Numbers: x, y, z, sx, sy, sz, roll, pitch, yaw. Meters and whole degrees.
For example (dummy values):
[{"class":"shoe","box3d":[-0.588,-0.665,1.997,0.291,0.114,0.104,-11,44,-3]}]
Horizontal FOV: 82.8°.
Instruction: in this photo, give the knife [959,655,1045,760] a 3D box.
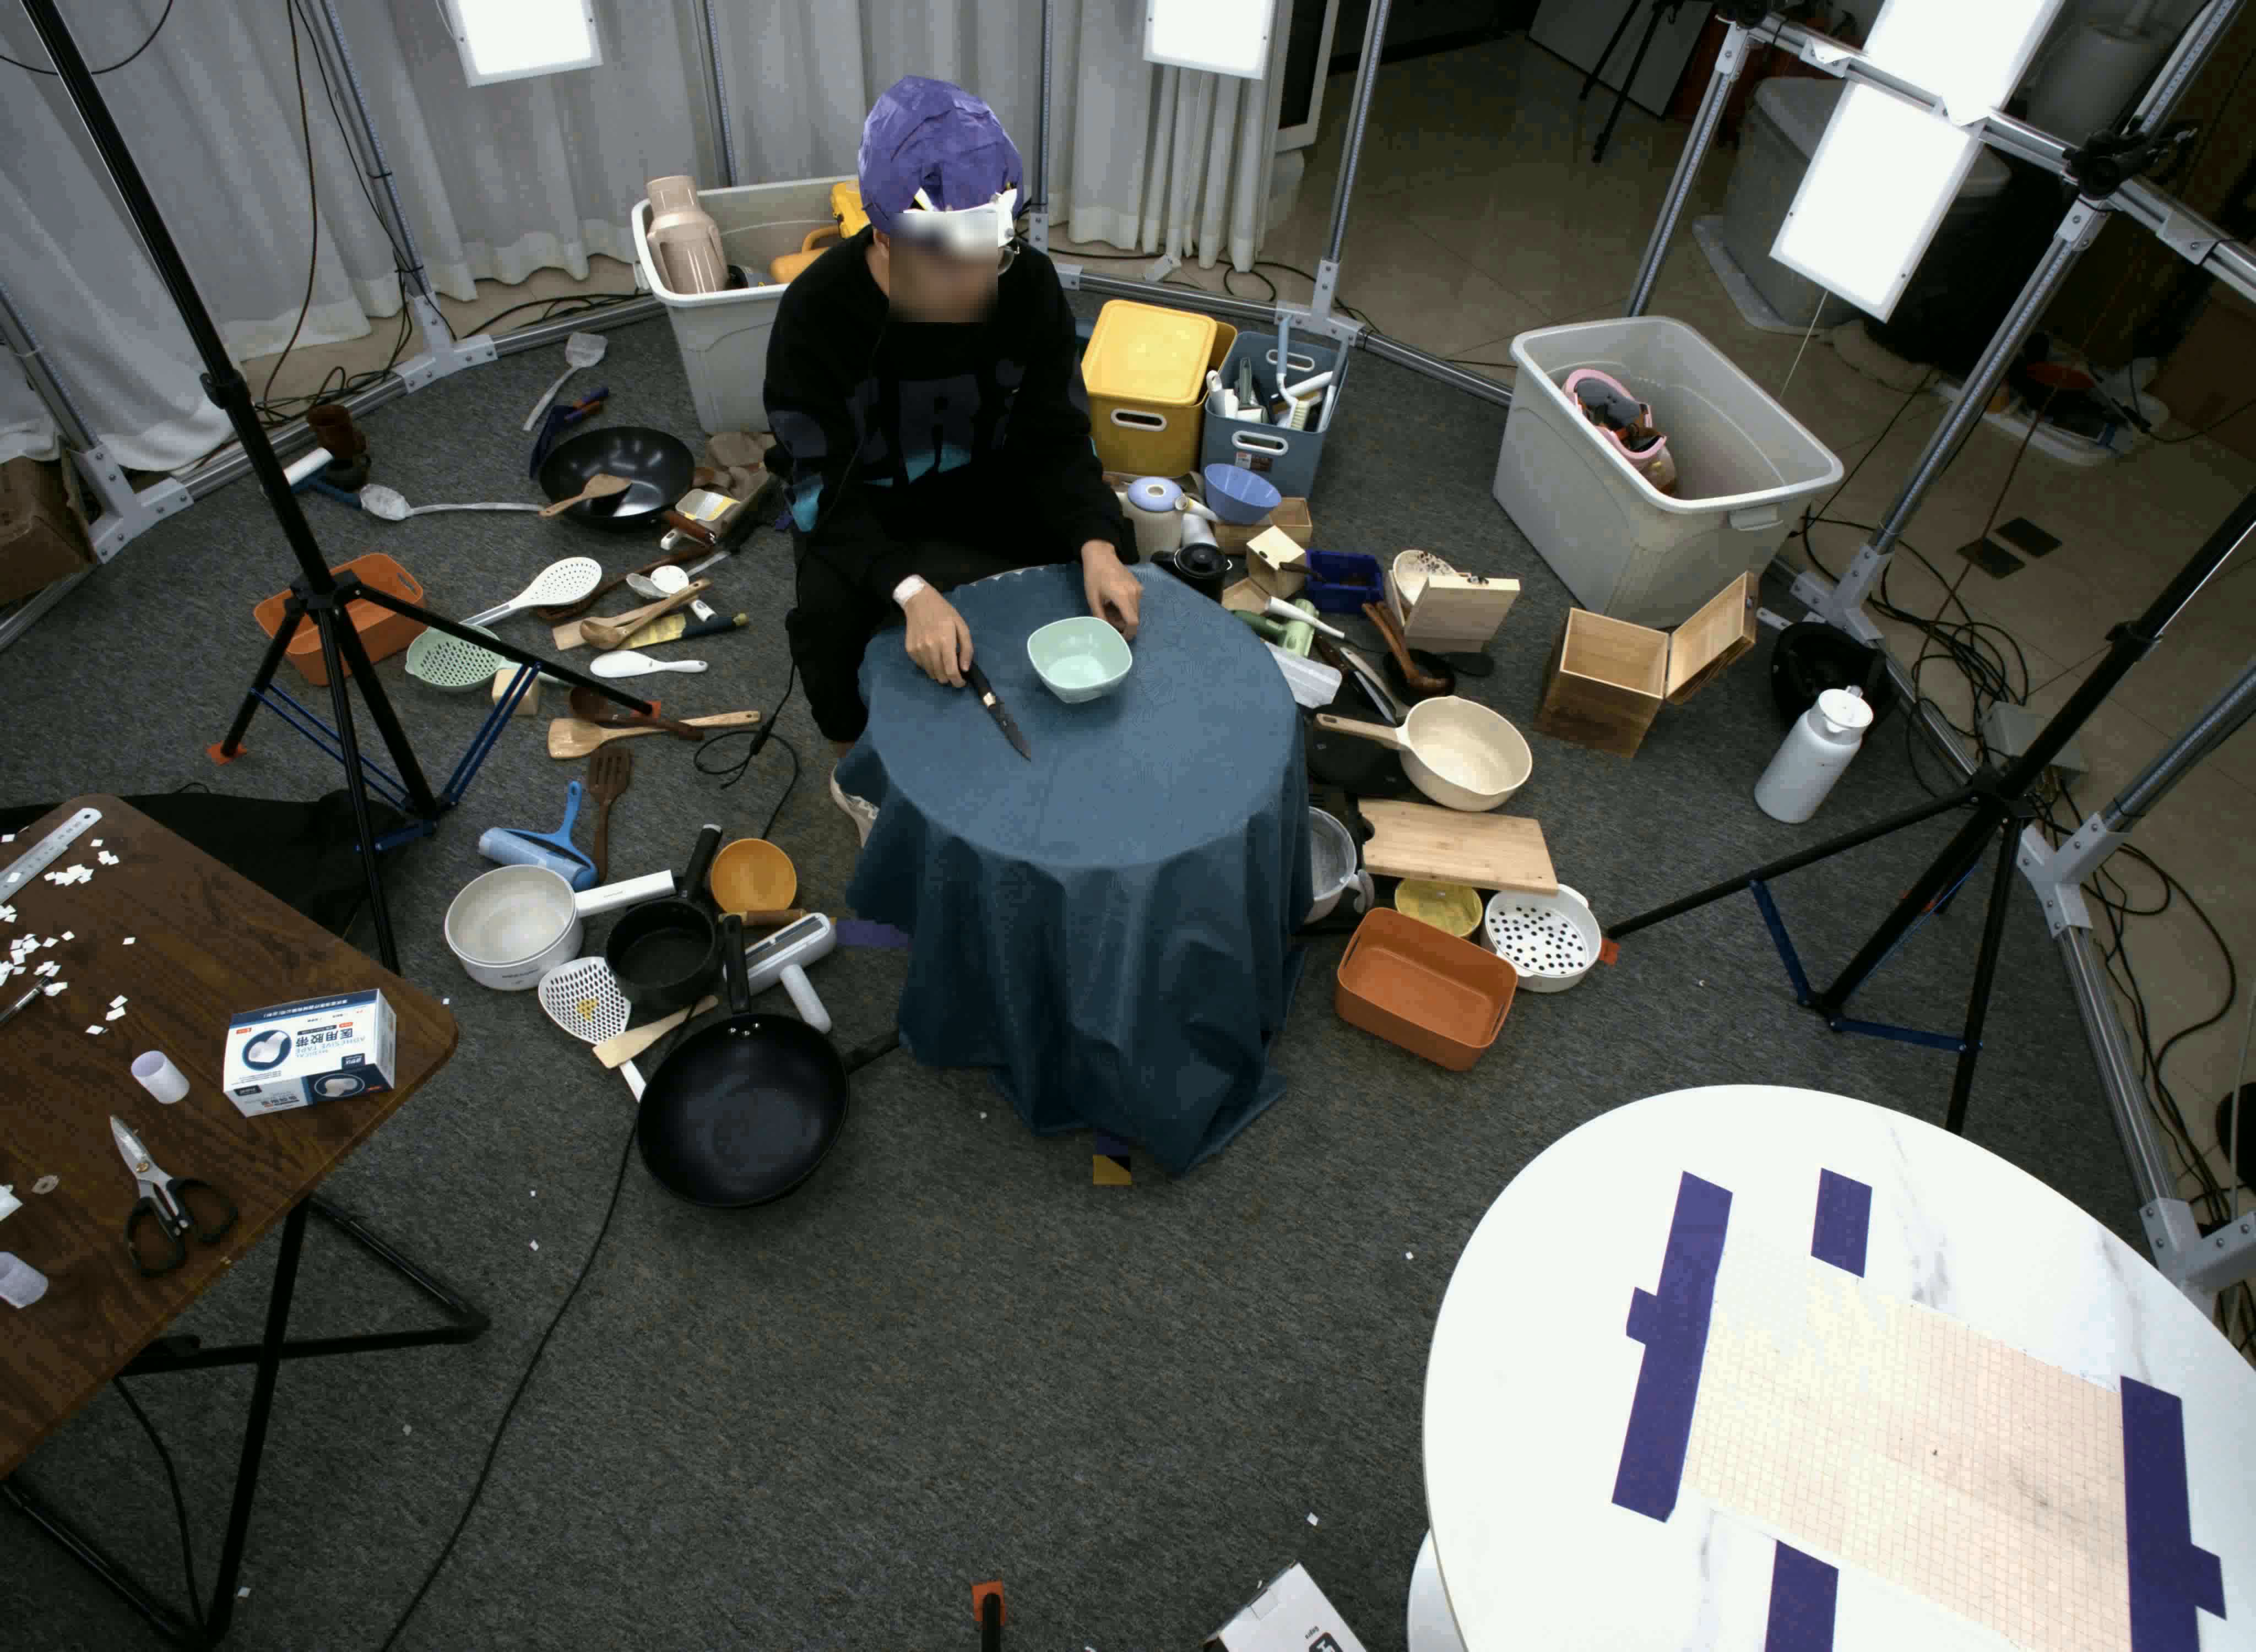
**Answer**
[{"class":"knife","box3d":[-0.178,-0.167,1.795,0.026,0.017,0.230,-18,53,-28]}]

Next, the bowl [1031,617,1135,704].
[{"class":"bowl","box3d":[-0.064,-0.227,1.826,0.151,0.057,0.155,1,50,-2]}]
